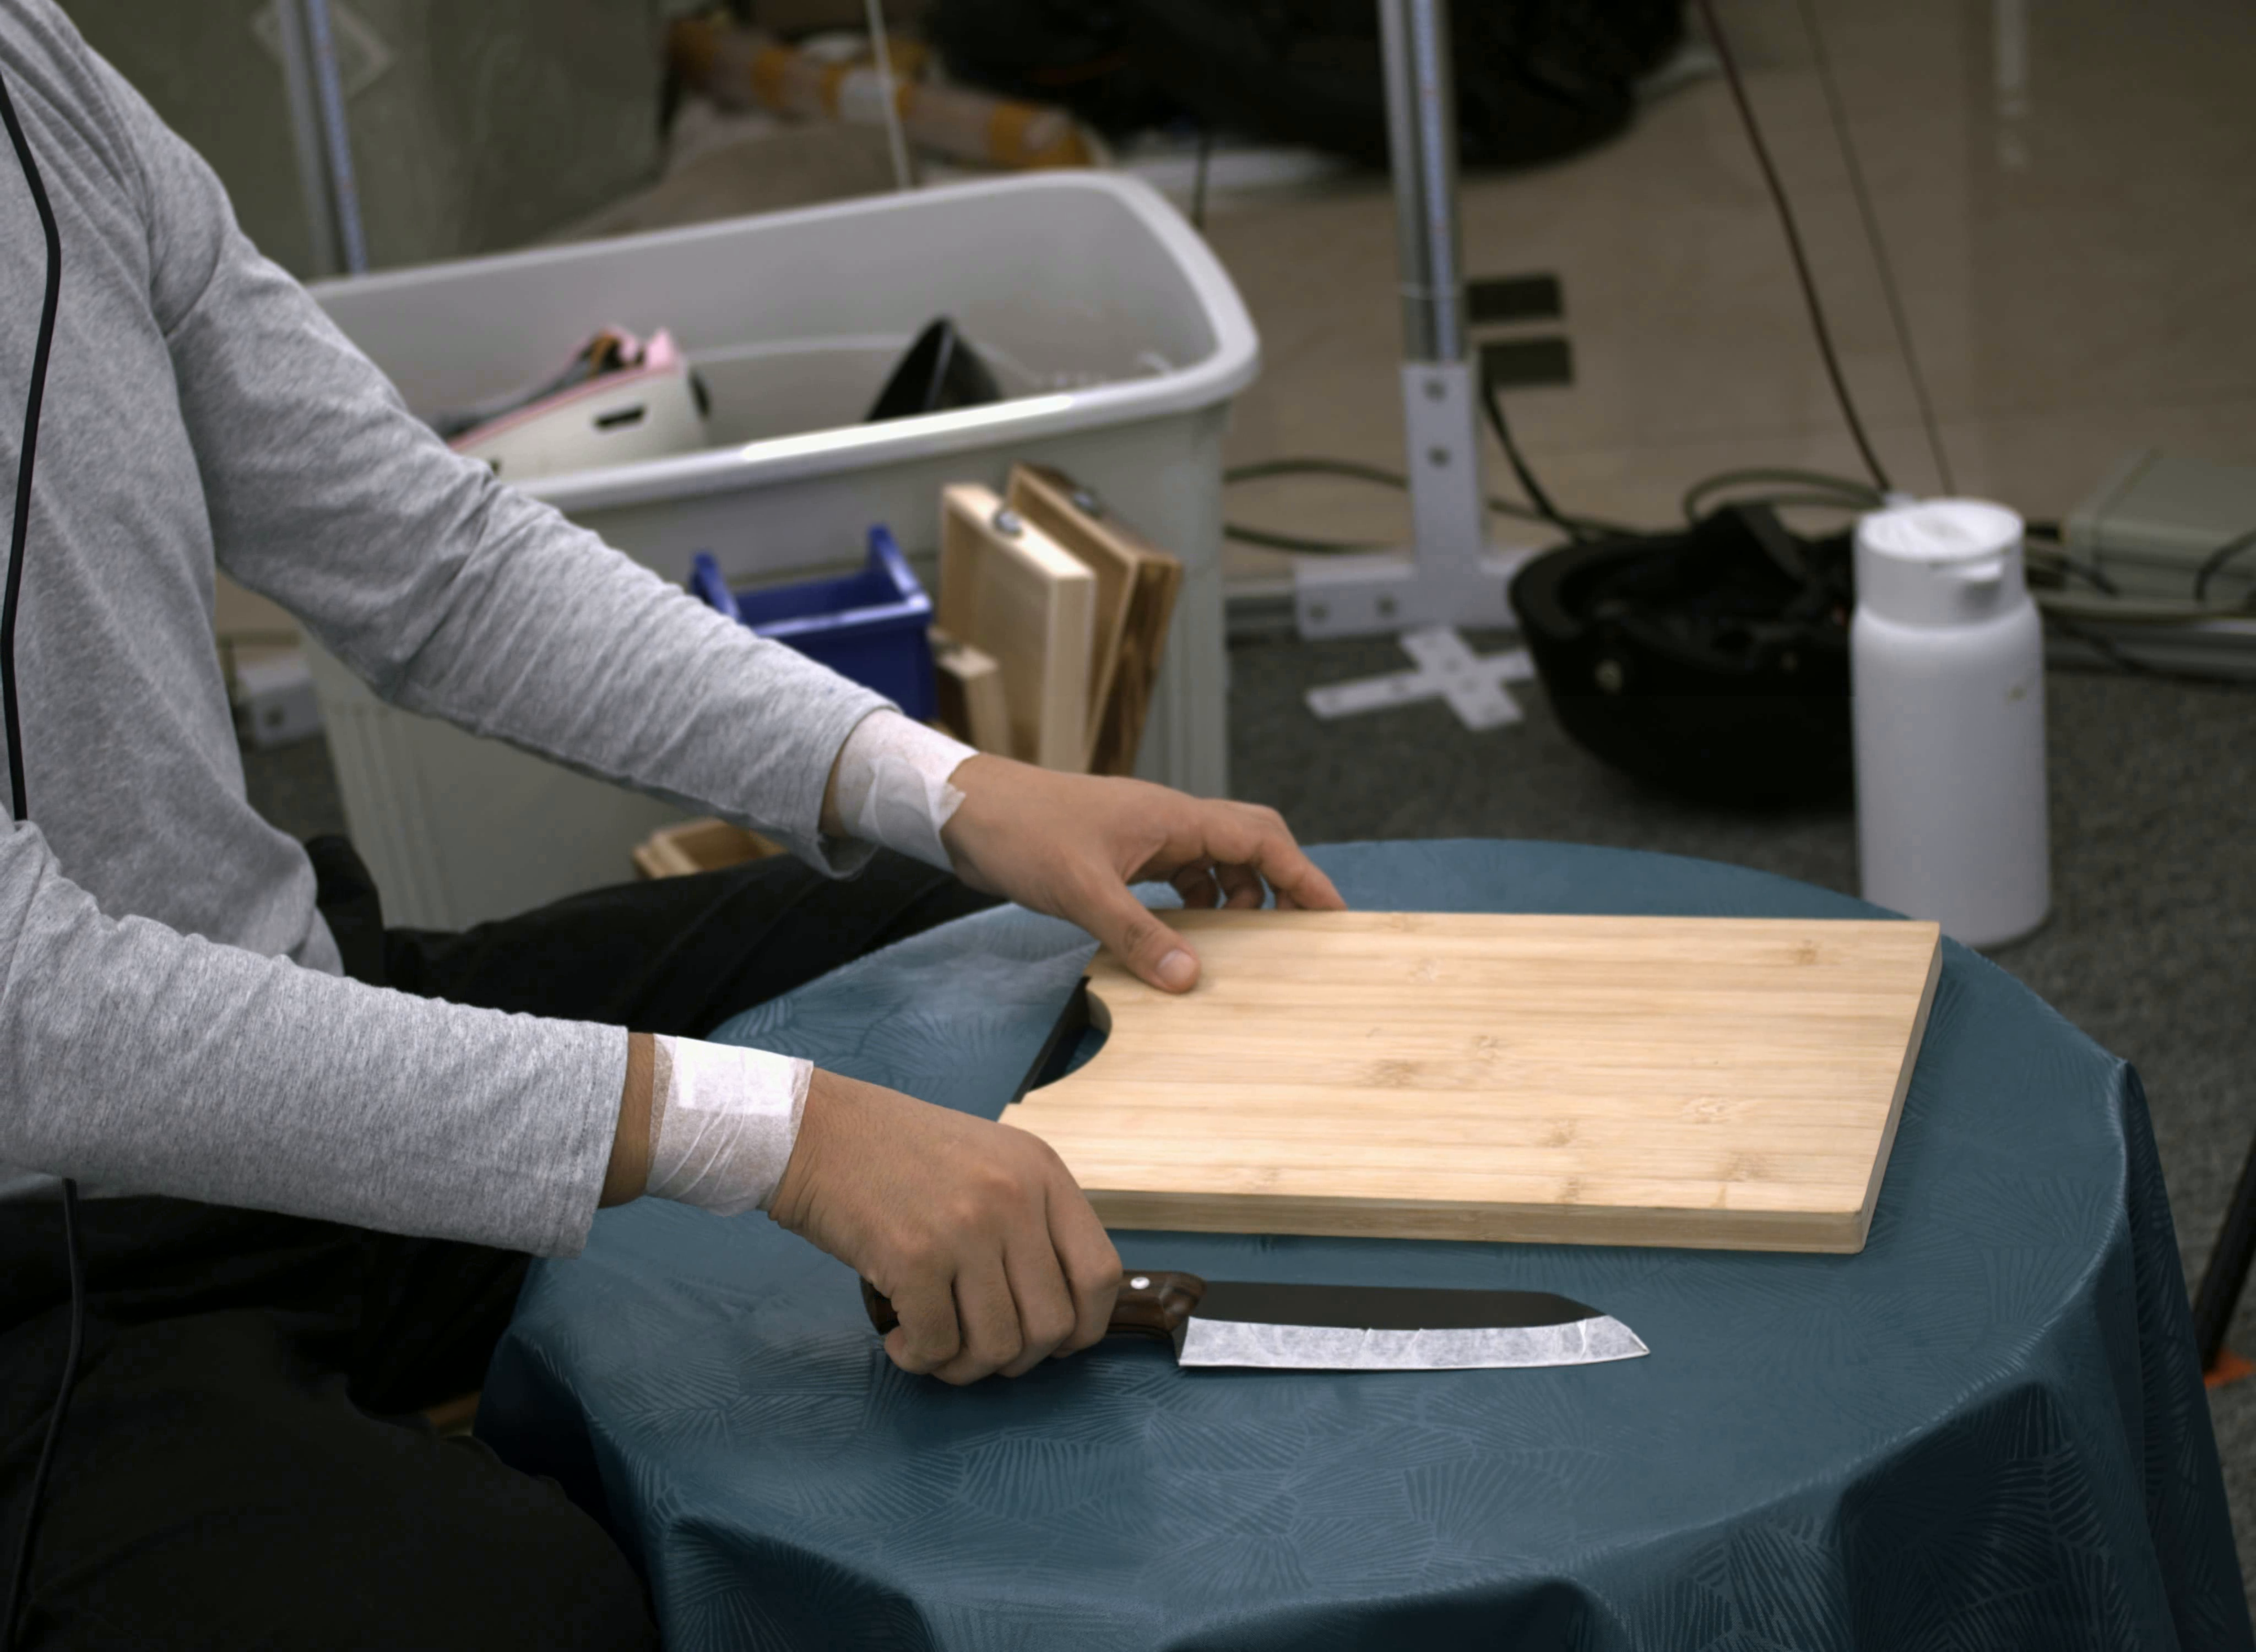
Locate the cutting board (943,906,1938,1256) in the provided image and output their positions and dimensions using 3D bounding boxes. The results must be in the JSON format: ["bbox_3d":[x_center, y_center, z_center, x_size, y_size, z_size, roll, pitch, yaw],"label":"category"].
[{"bbox_3d":[0.126,0.095,2.197,0.348,0.024,0.247,1,25,15],"label":"cutting board"}]

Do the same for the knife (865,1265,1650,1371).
[{"bbox_3d":[0.044,0.178,2.037,0.288,0.020,0.049,2,39,12],"label":"knife"}]
